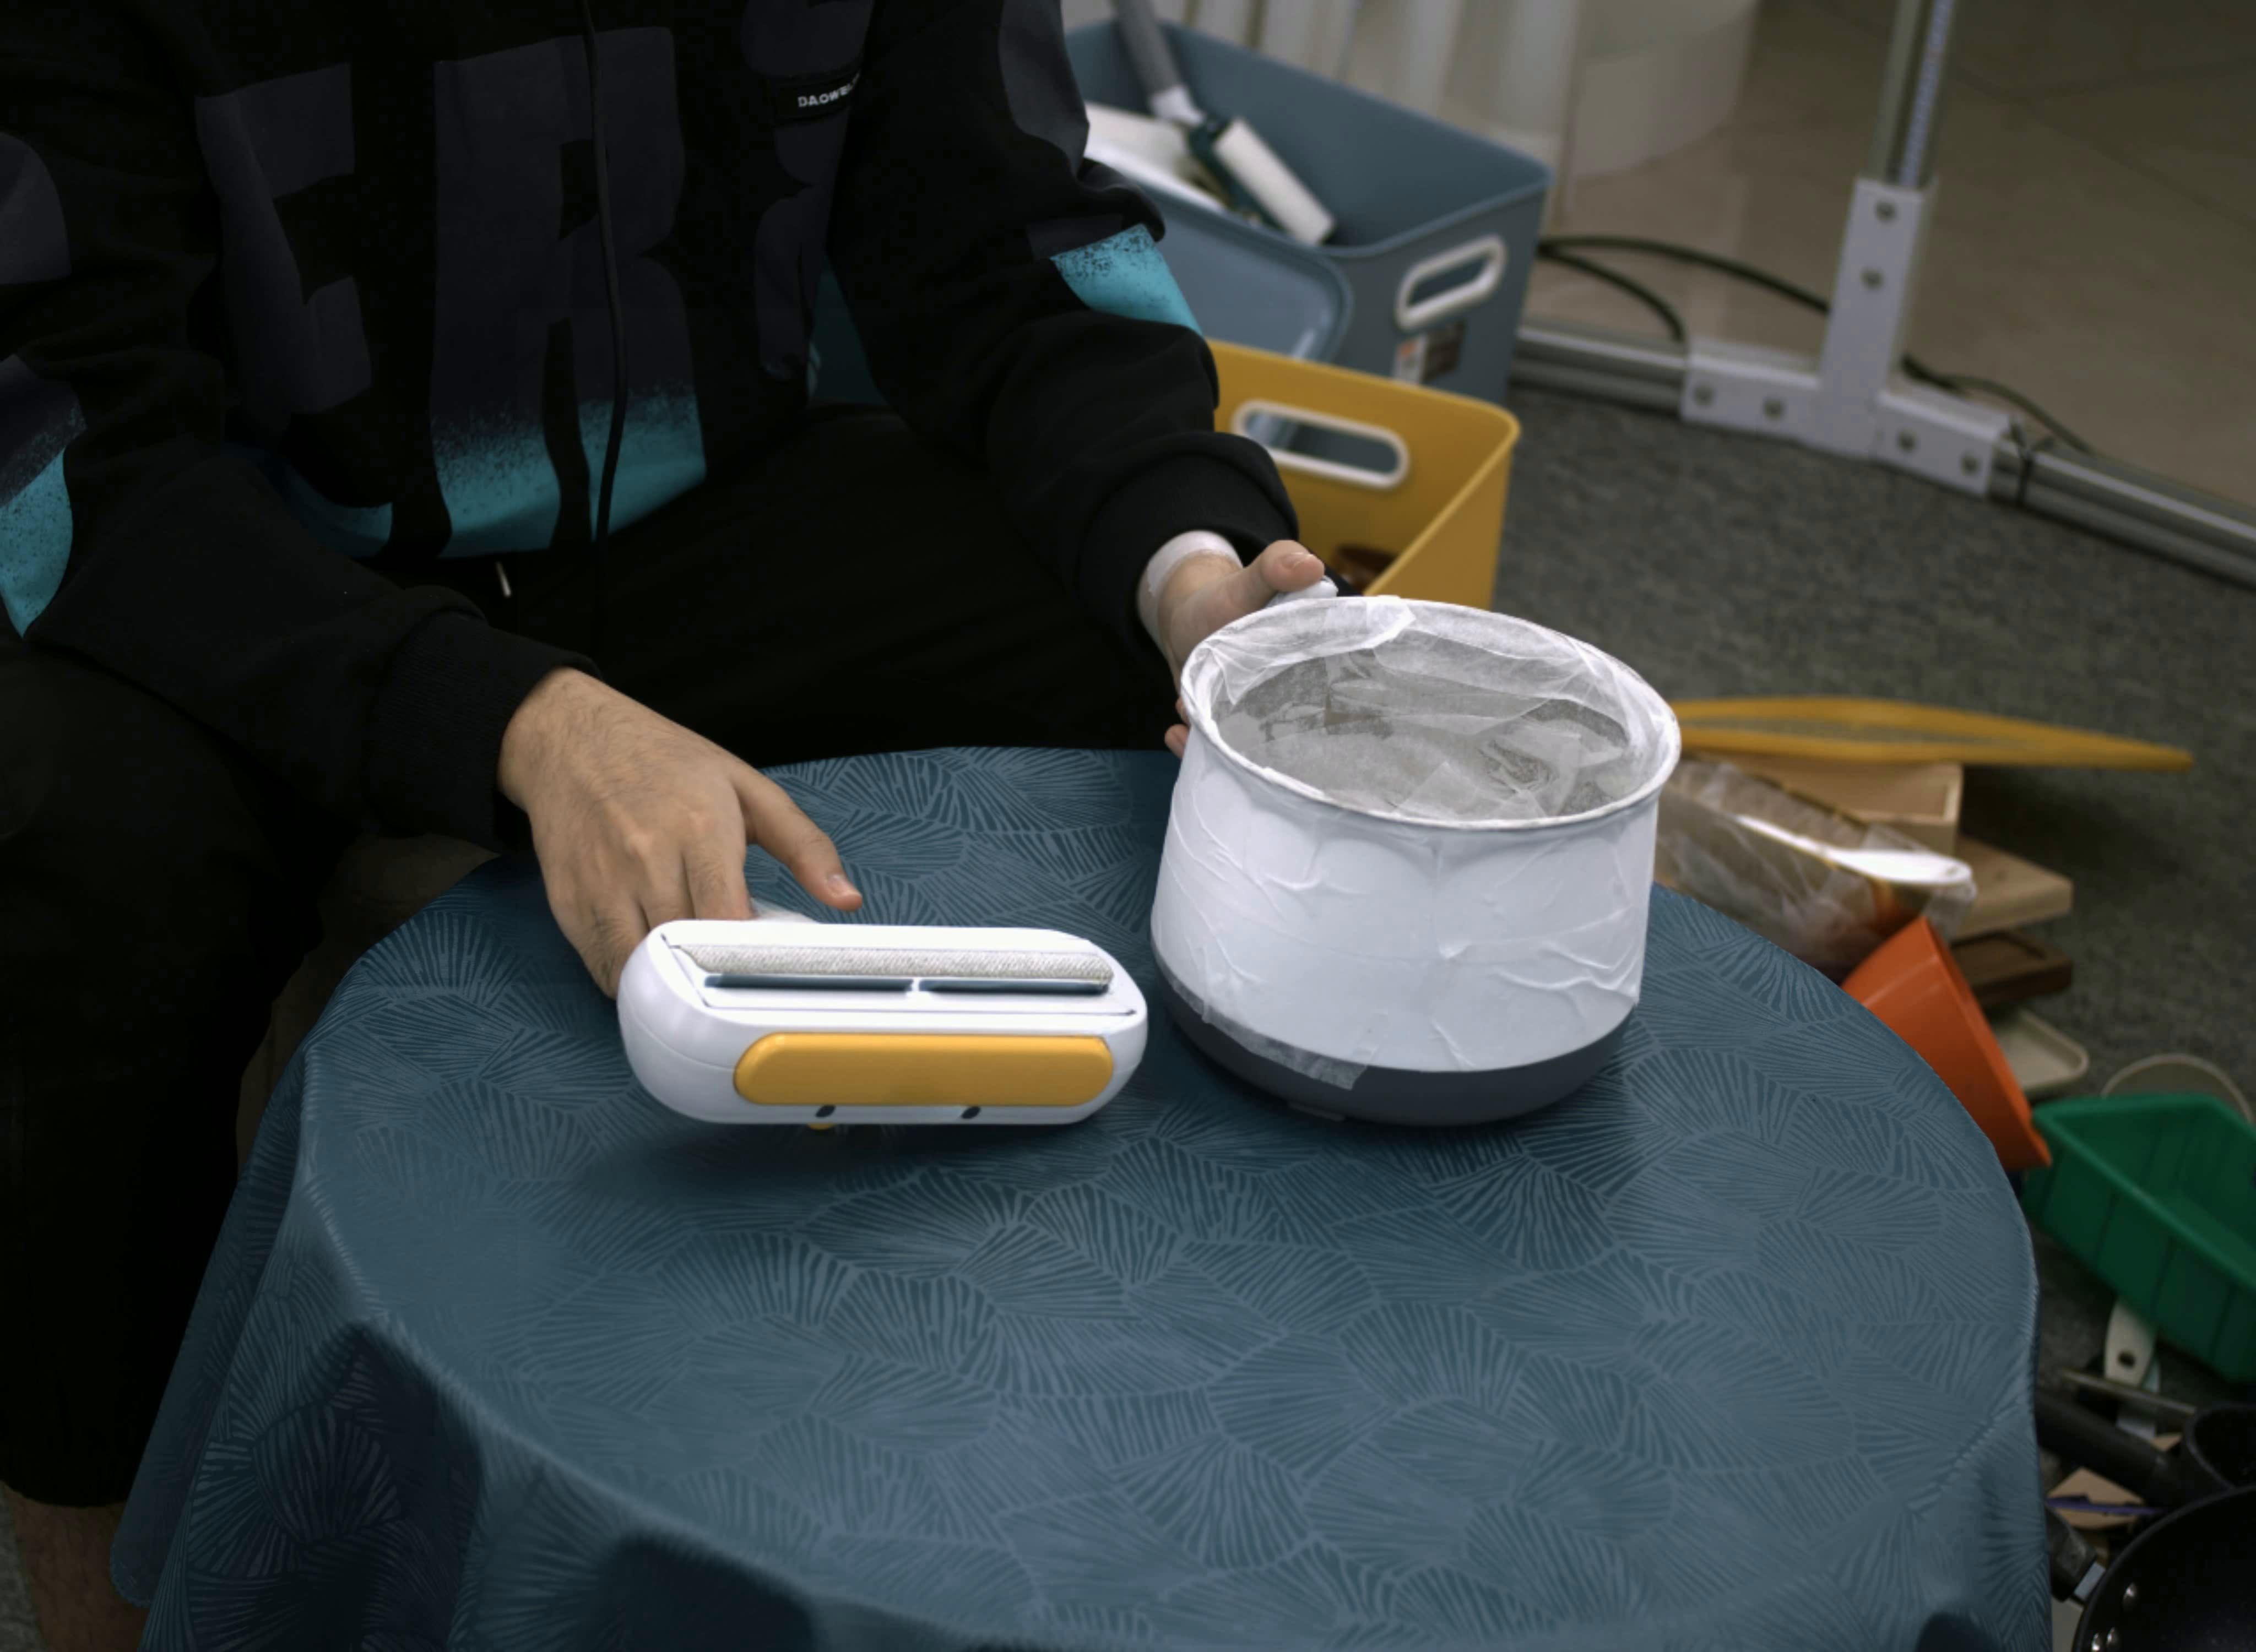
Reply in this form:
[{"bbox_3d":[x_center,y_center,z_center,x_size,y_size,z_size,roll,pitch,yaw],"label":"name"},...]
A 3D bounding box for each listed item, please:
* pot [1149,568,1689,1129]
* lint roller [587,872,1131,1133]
[{"bbox_3d":[0.089,0.001,1.905,0.177,0.136,0.236,-4,30,-24],"label":"pot"},{"bbox_3d":[-0.115,0.049,1.846,0.191,0.074,0.194,0,25,-27],"label":"lint roller"}]
